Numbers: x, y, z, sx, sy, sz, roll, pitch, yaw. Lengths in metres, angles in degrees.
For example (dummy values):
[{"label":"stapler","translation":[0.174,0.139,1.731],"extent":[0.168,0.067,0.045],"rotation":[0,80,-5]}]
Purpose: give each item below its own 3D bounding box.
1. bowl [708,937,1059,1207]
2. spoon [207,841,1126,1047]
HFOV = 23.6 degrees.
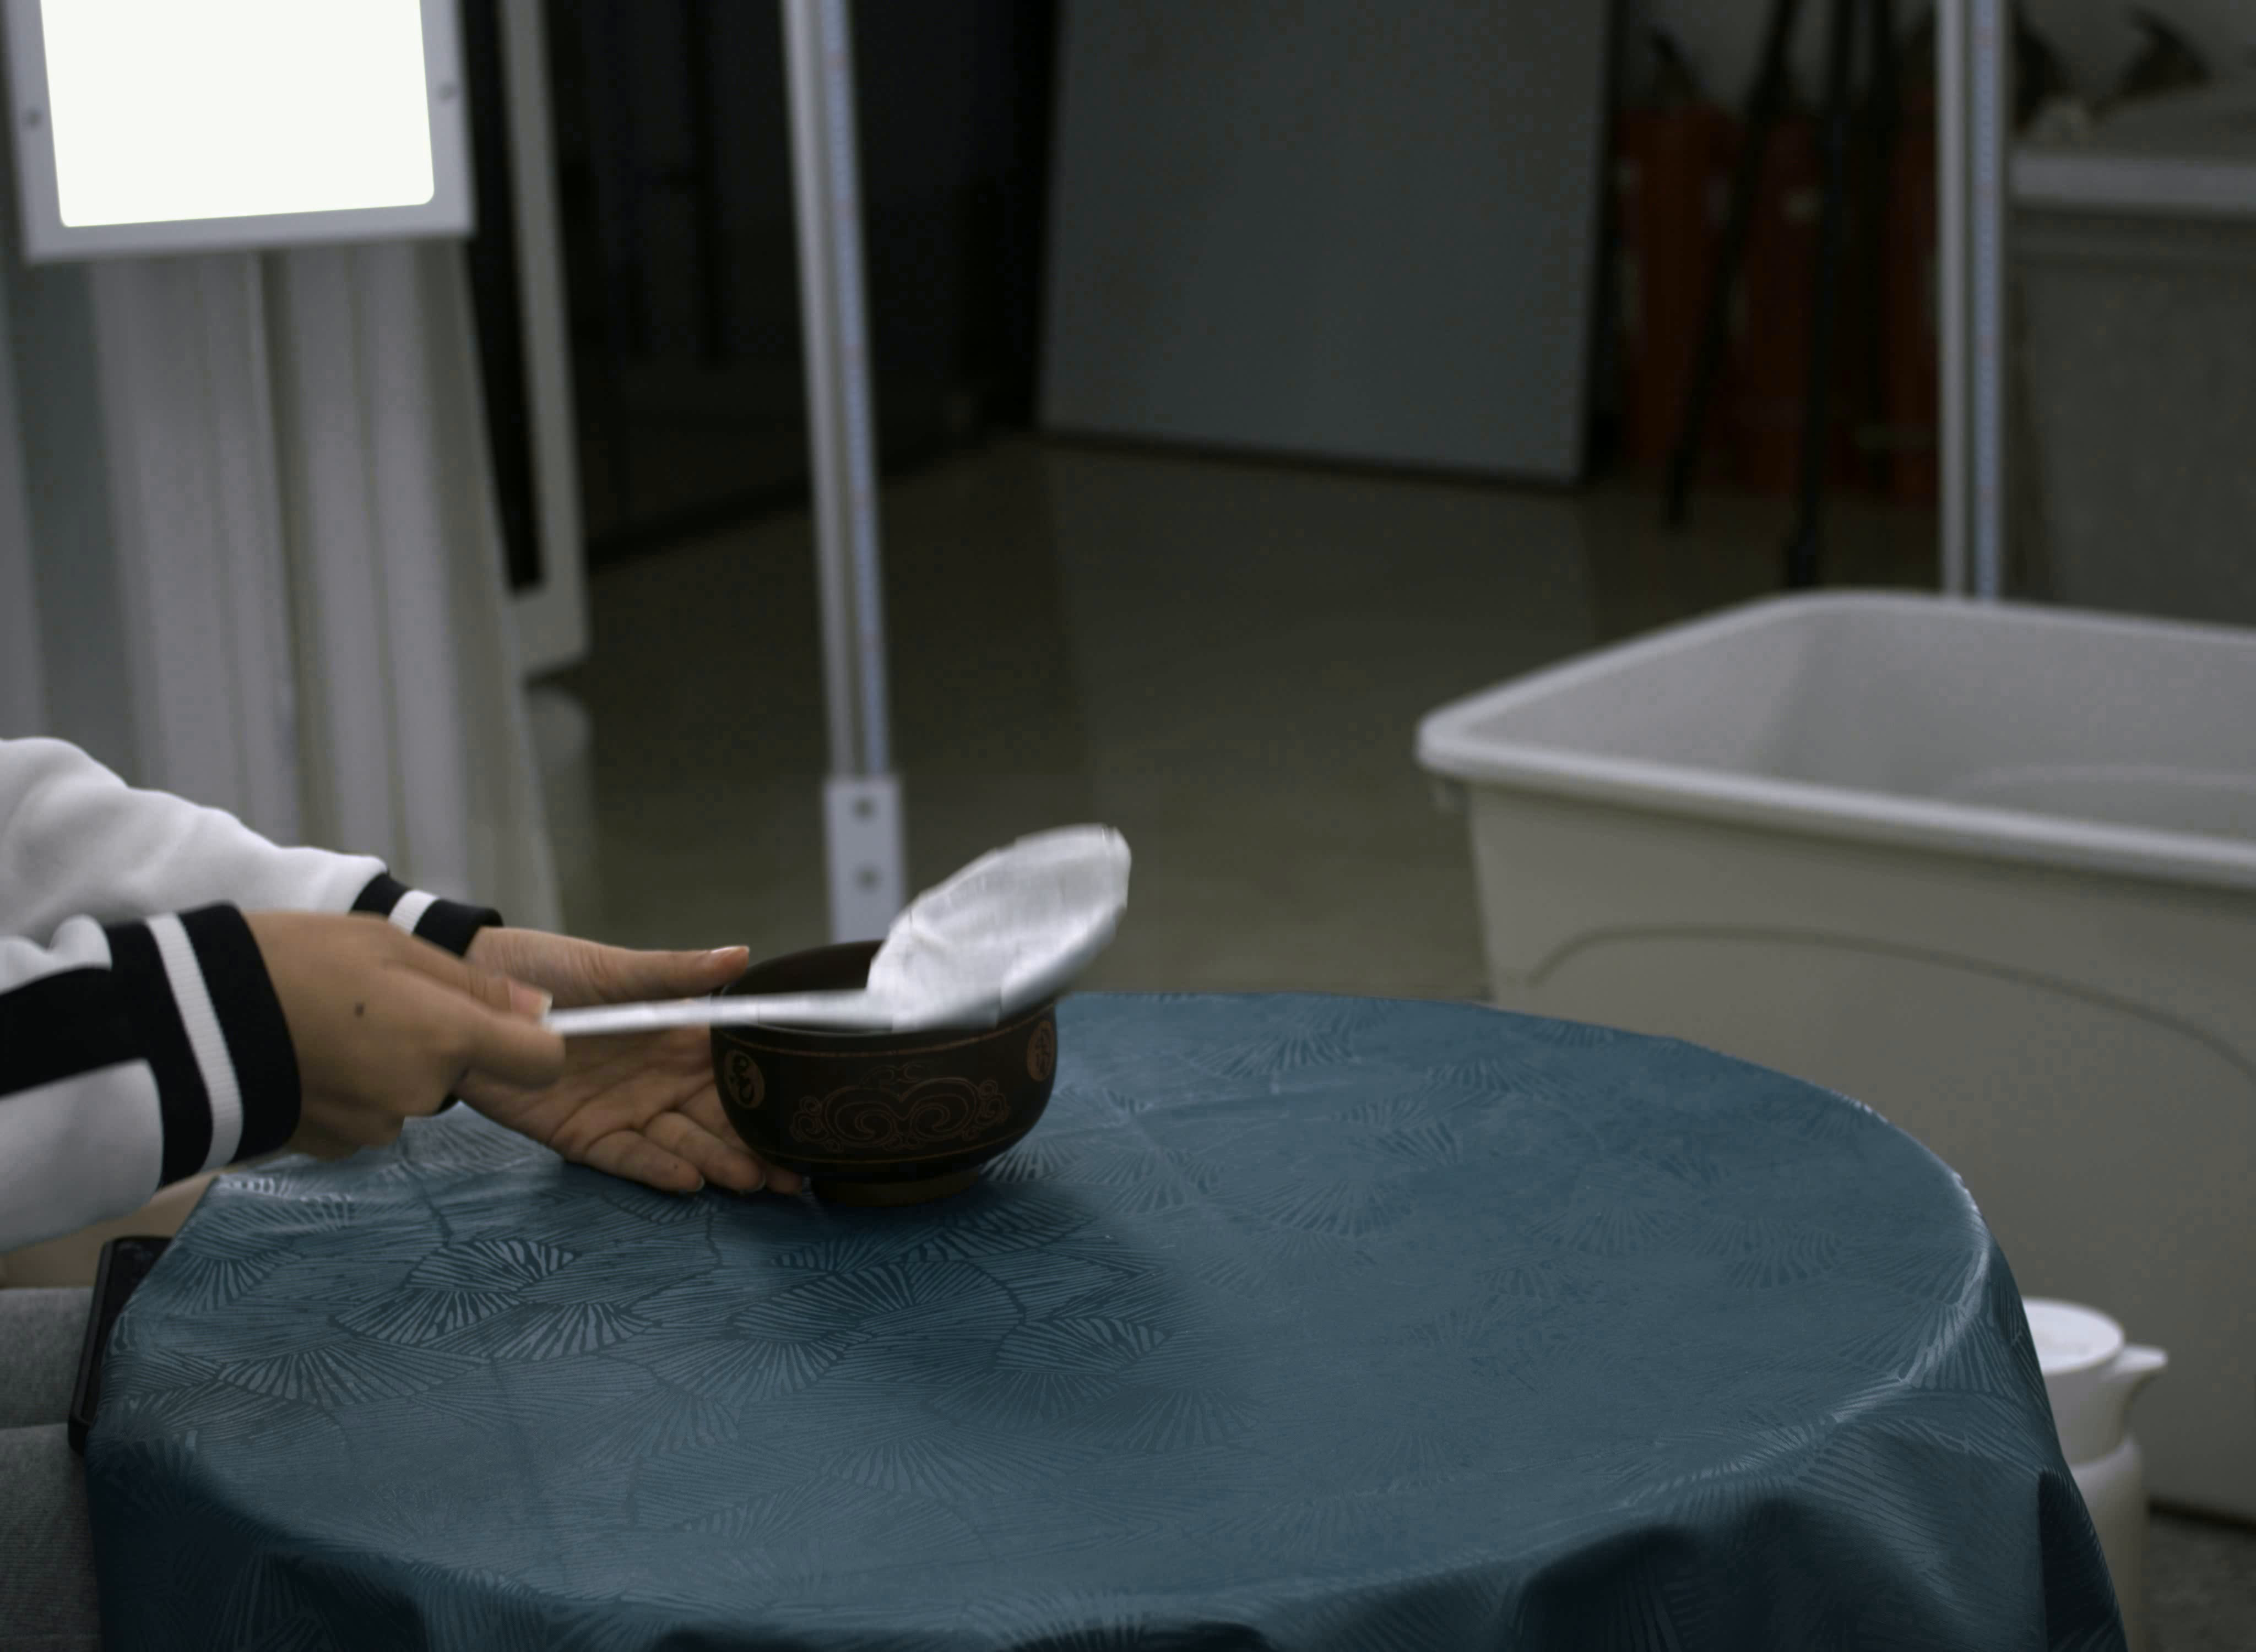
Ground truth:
[{"label":"bowl","translation":[-0.080,0.085,1.789],"extent":[0.116,0.070,0.118],"rotation":[-4,13,0]},{"label":"spoon","translation":[-0.137,0.034,1.624],"extent":[0.272,0.060,0.101],"rotation":[1,16,-12]}]
